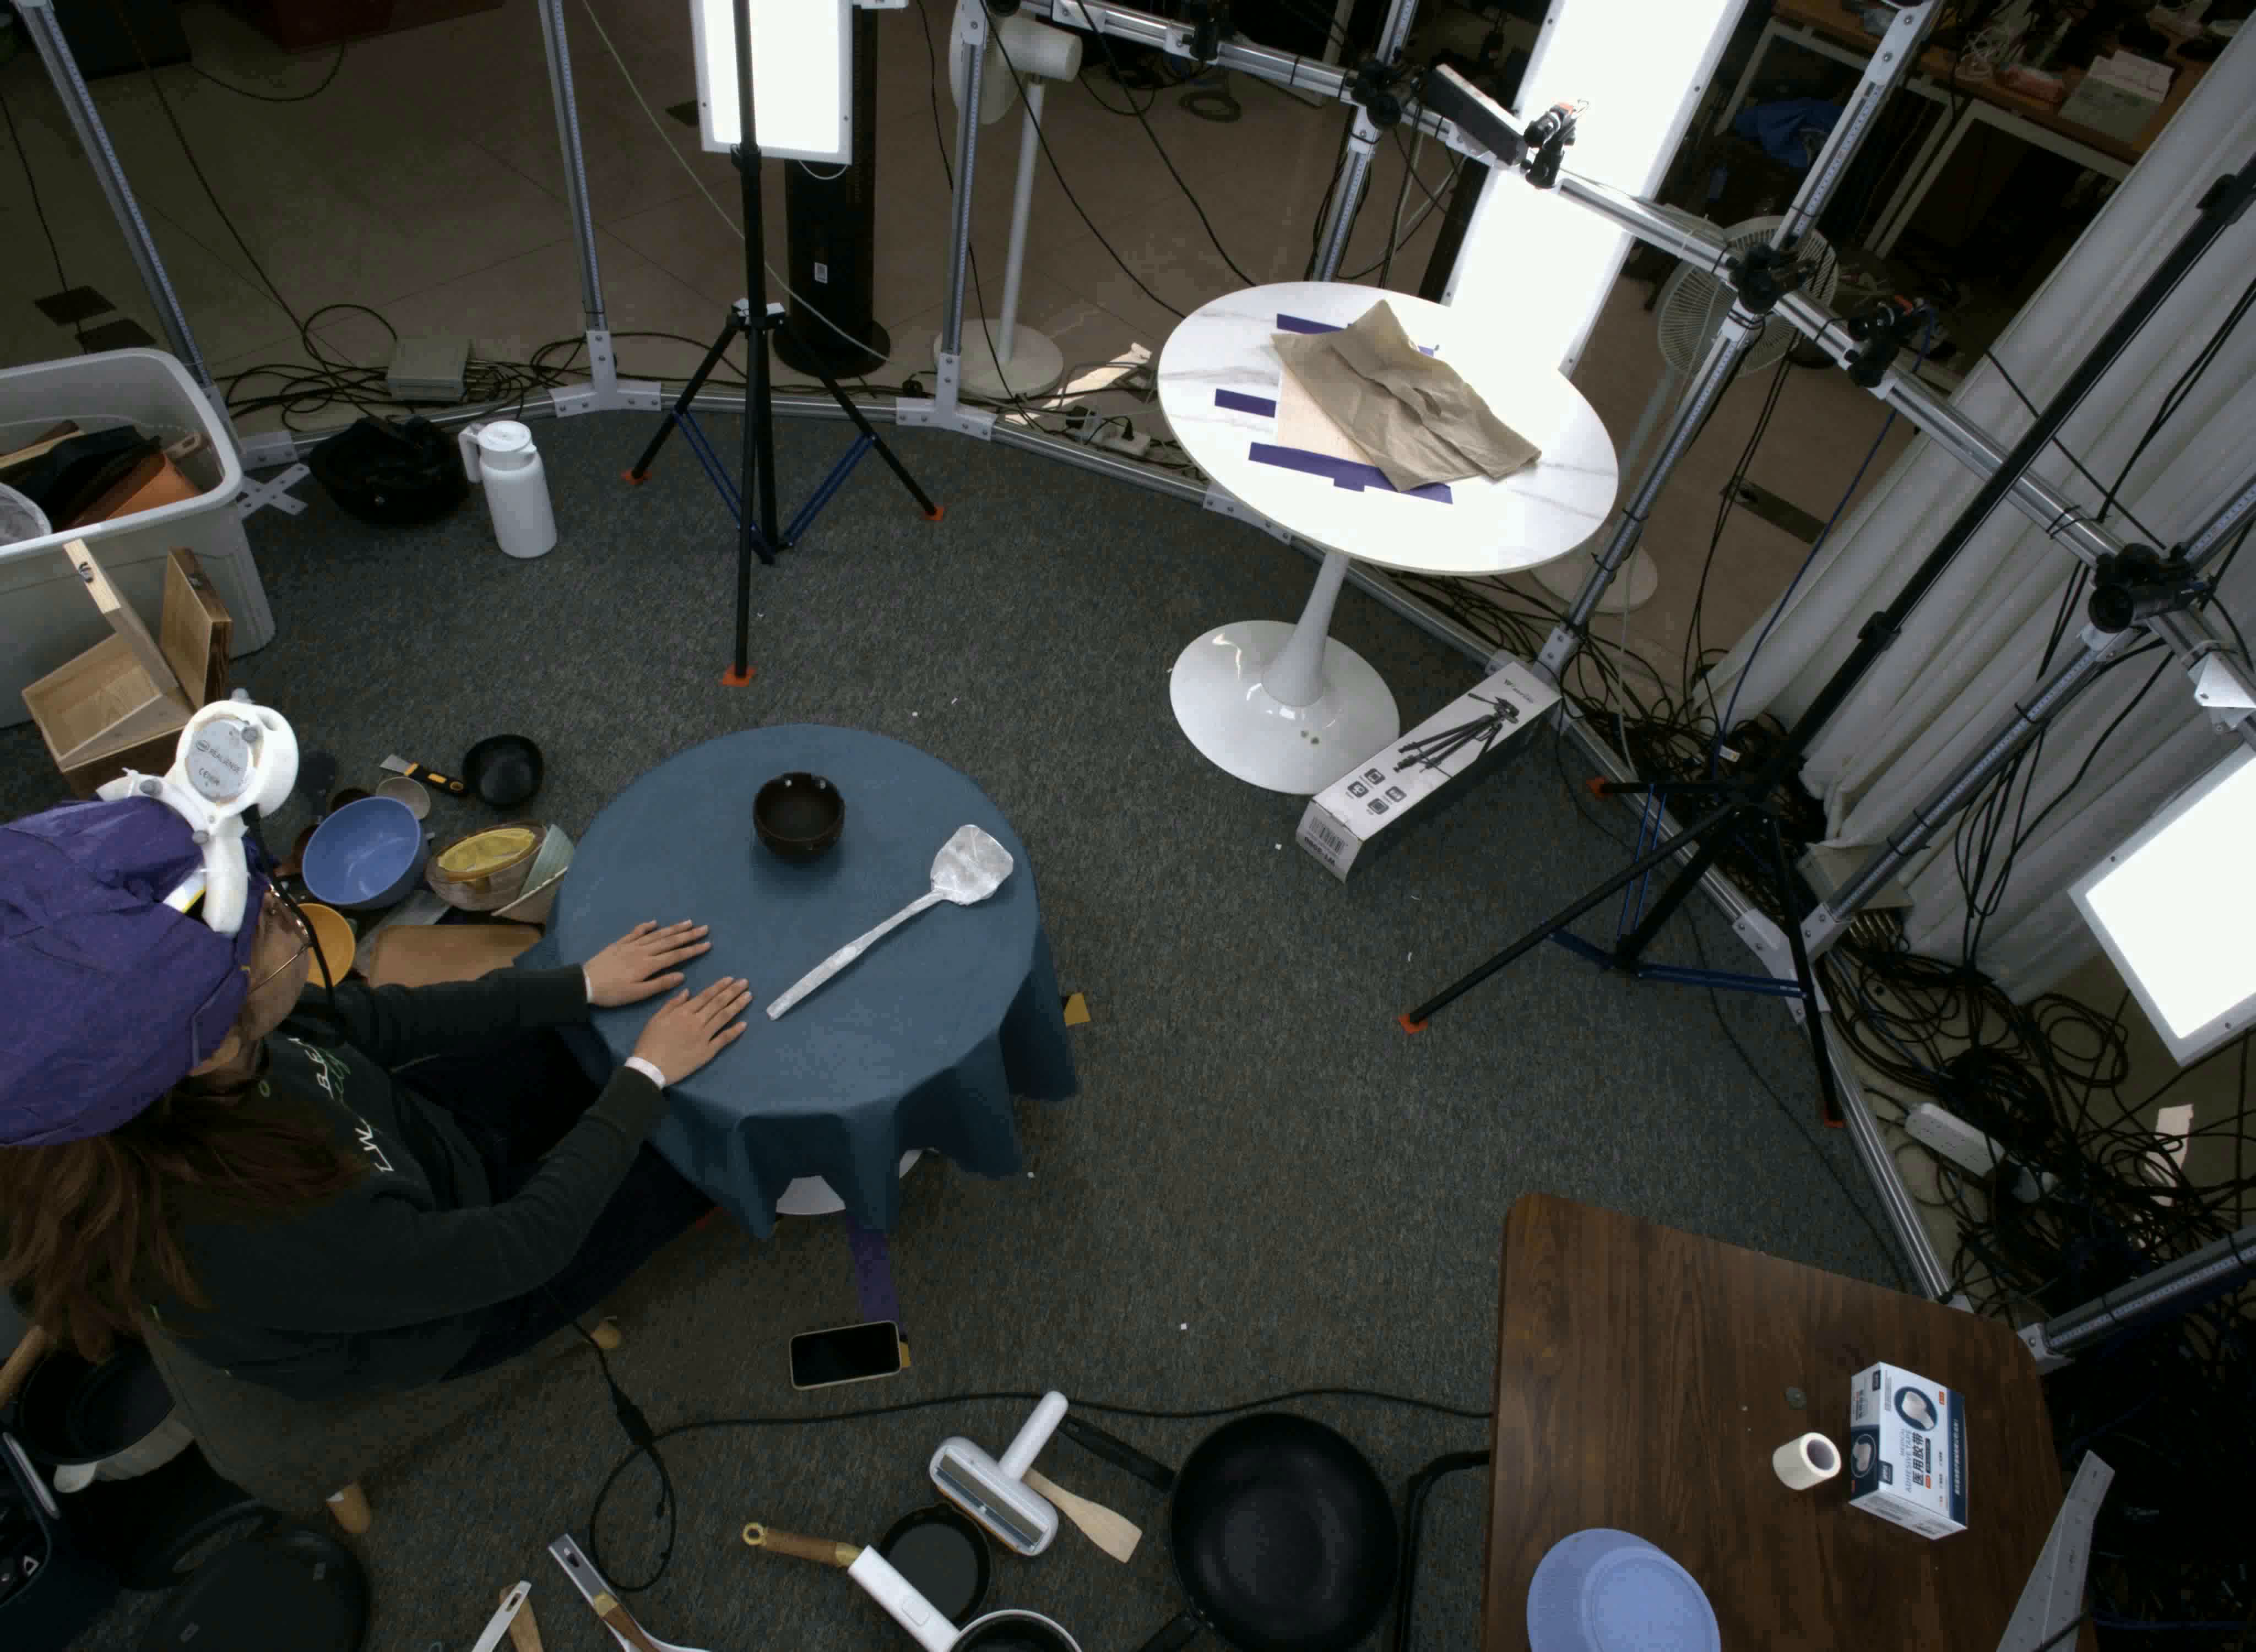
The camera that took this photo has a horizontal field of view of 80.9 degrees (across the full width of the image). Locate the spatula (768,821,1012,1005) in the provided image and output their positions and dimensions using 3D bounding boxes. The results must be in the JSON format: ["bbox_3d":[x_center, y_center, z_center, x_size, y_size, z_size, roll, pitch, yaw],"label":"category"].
[{"bbox_3d":[-0.302,0.116,1.649,0.097,0.045,0.366,43,55,16],"label":"spatula"}]

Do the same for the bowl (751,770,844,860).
[{"bbox_3d":[-0.428,-0.007,1.687,0.117,0.071,0.116,6,52,-7],"label":"bowl"}]
